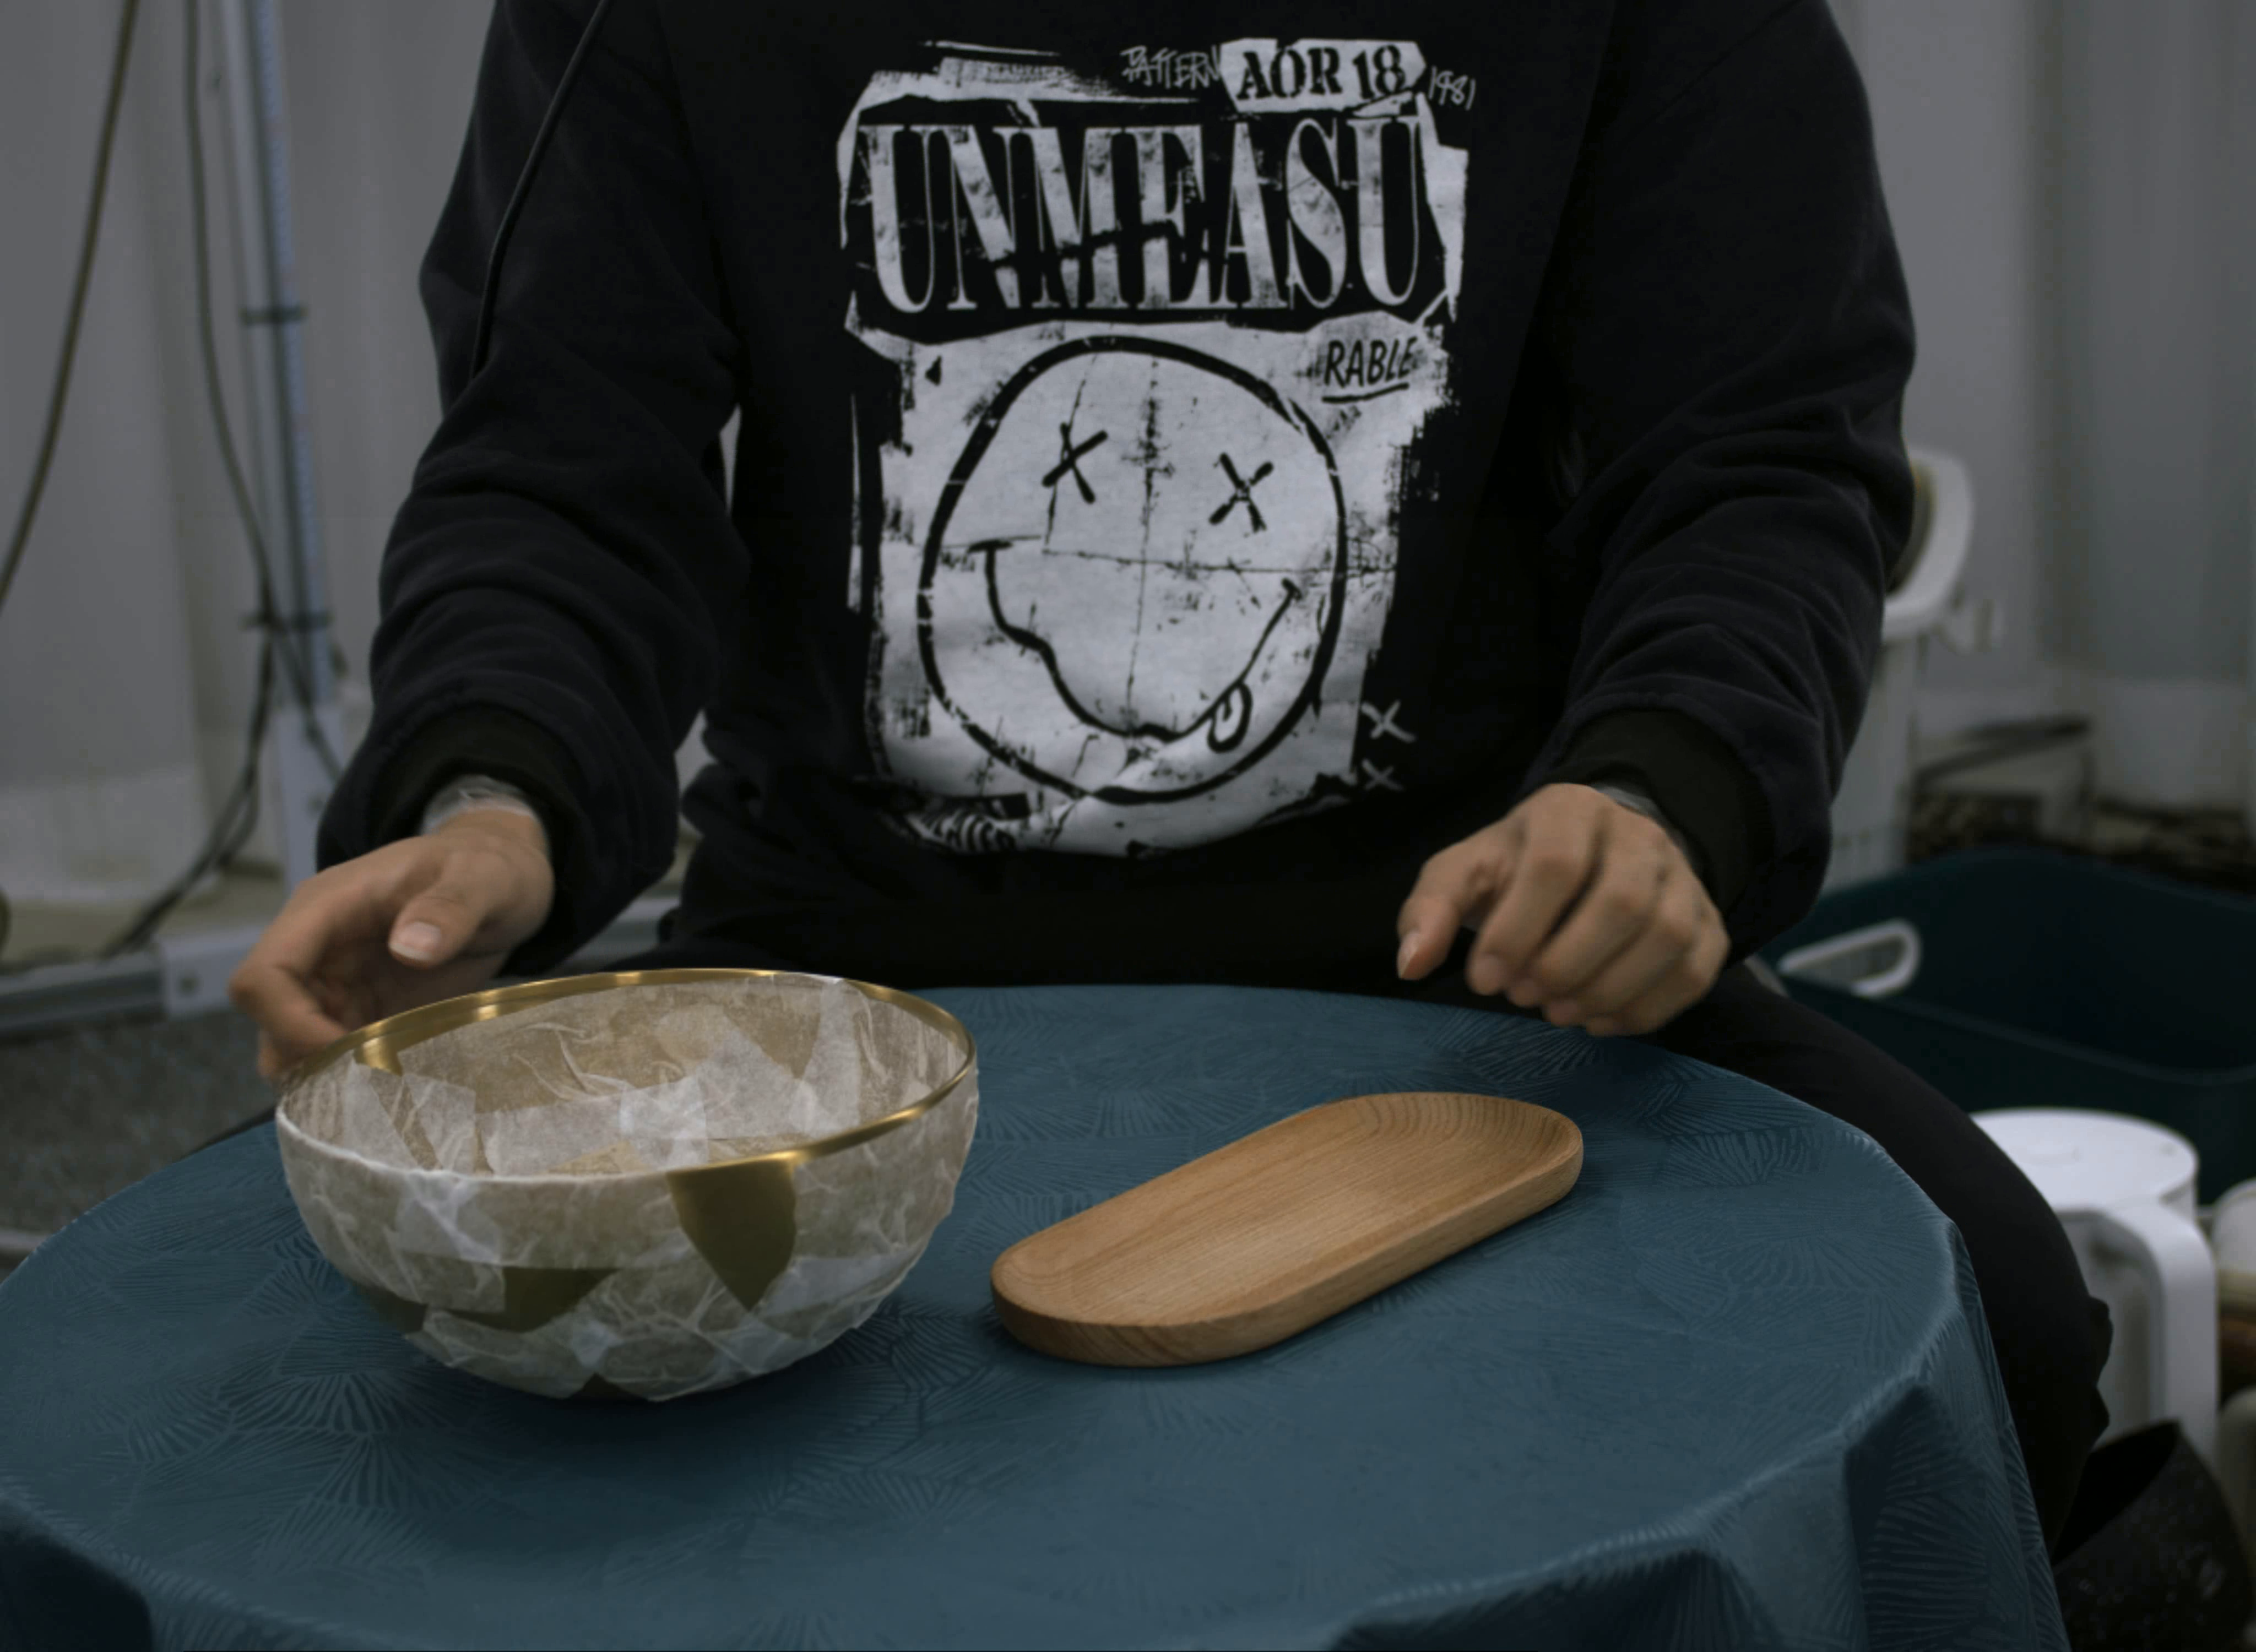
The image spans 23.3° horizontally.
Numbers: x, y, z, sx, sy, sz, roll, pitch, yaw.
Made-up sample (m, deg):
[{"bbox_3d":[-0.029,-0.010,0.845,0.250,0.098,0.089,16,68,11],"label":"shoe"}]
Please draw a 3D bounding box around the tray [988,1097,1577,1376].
[{"bbox_3d":[0.050,0.122,1.649,0.102,0.020,0.231,6,19,37],"label":"tray"}]

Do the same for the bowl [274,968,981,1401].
[{"bbox_3d":[-0.137,0.111,1.578,0.214,0.094,0.216,-3,14,1],"label":"bowl"}]
